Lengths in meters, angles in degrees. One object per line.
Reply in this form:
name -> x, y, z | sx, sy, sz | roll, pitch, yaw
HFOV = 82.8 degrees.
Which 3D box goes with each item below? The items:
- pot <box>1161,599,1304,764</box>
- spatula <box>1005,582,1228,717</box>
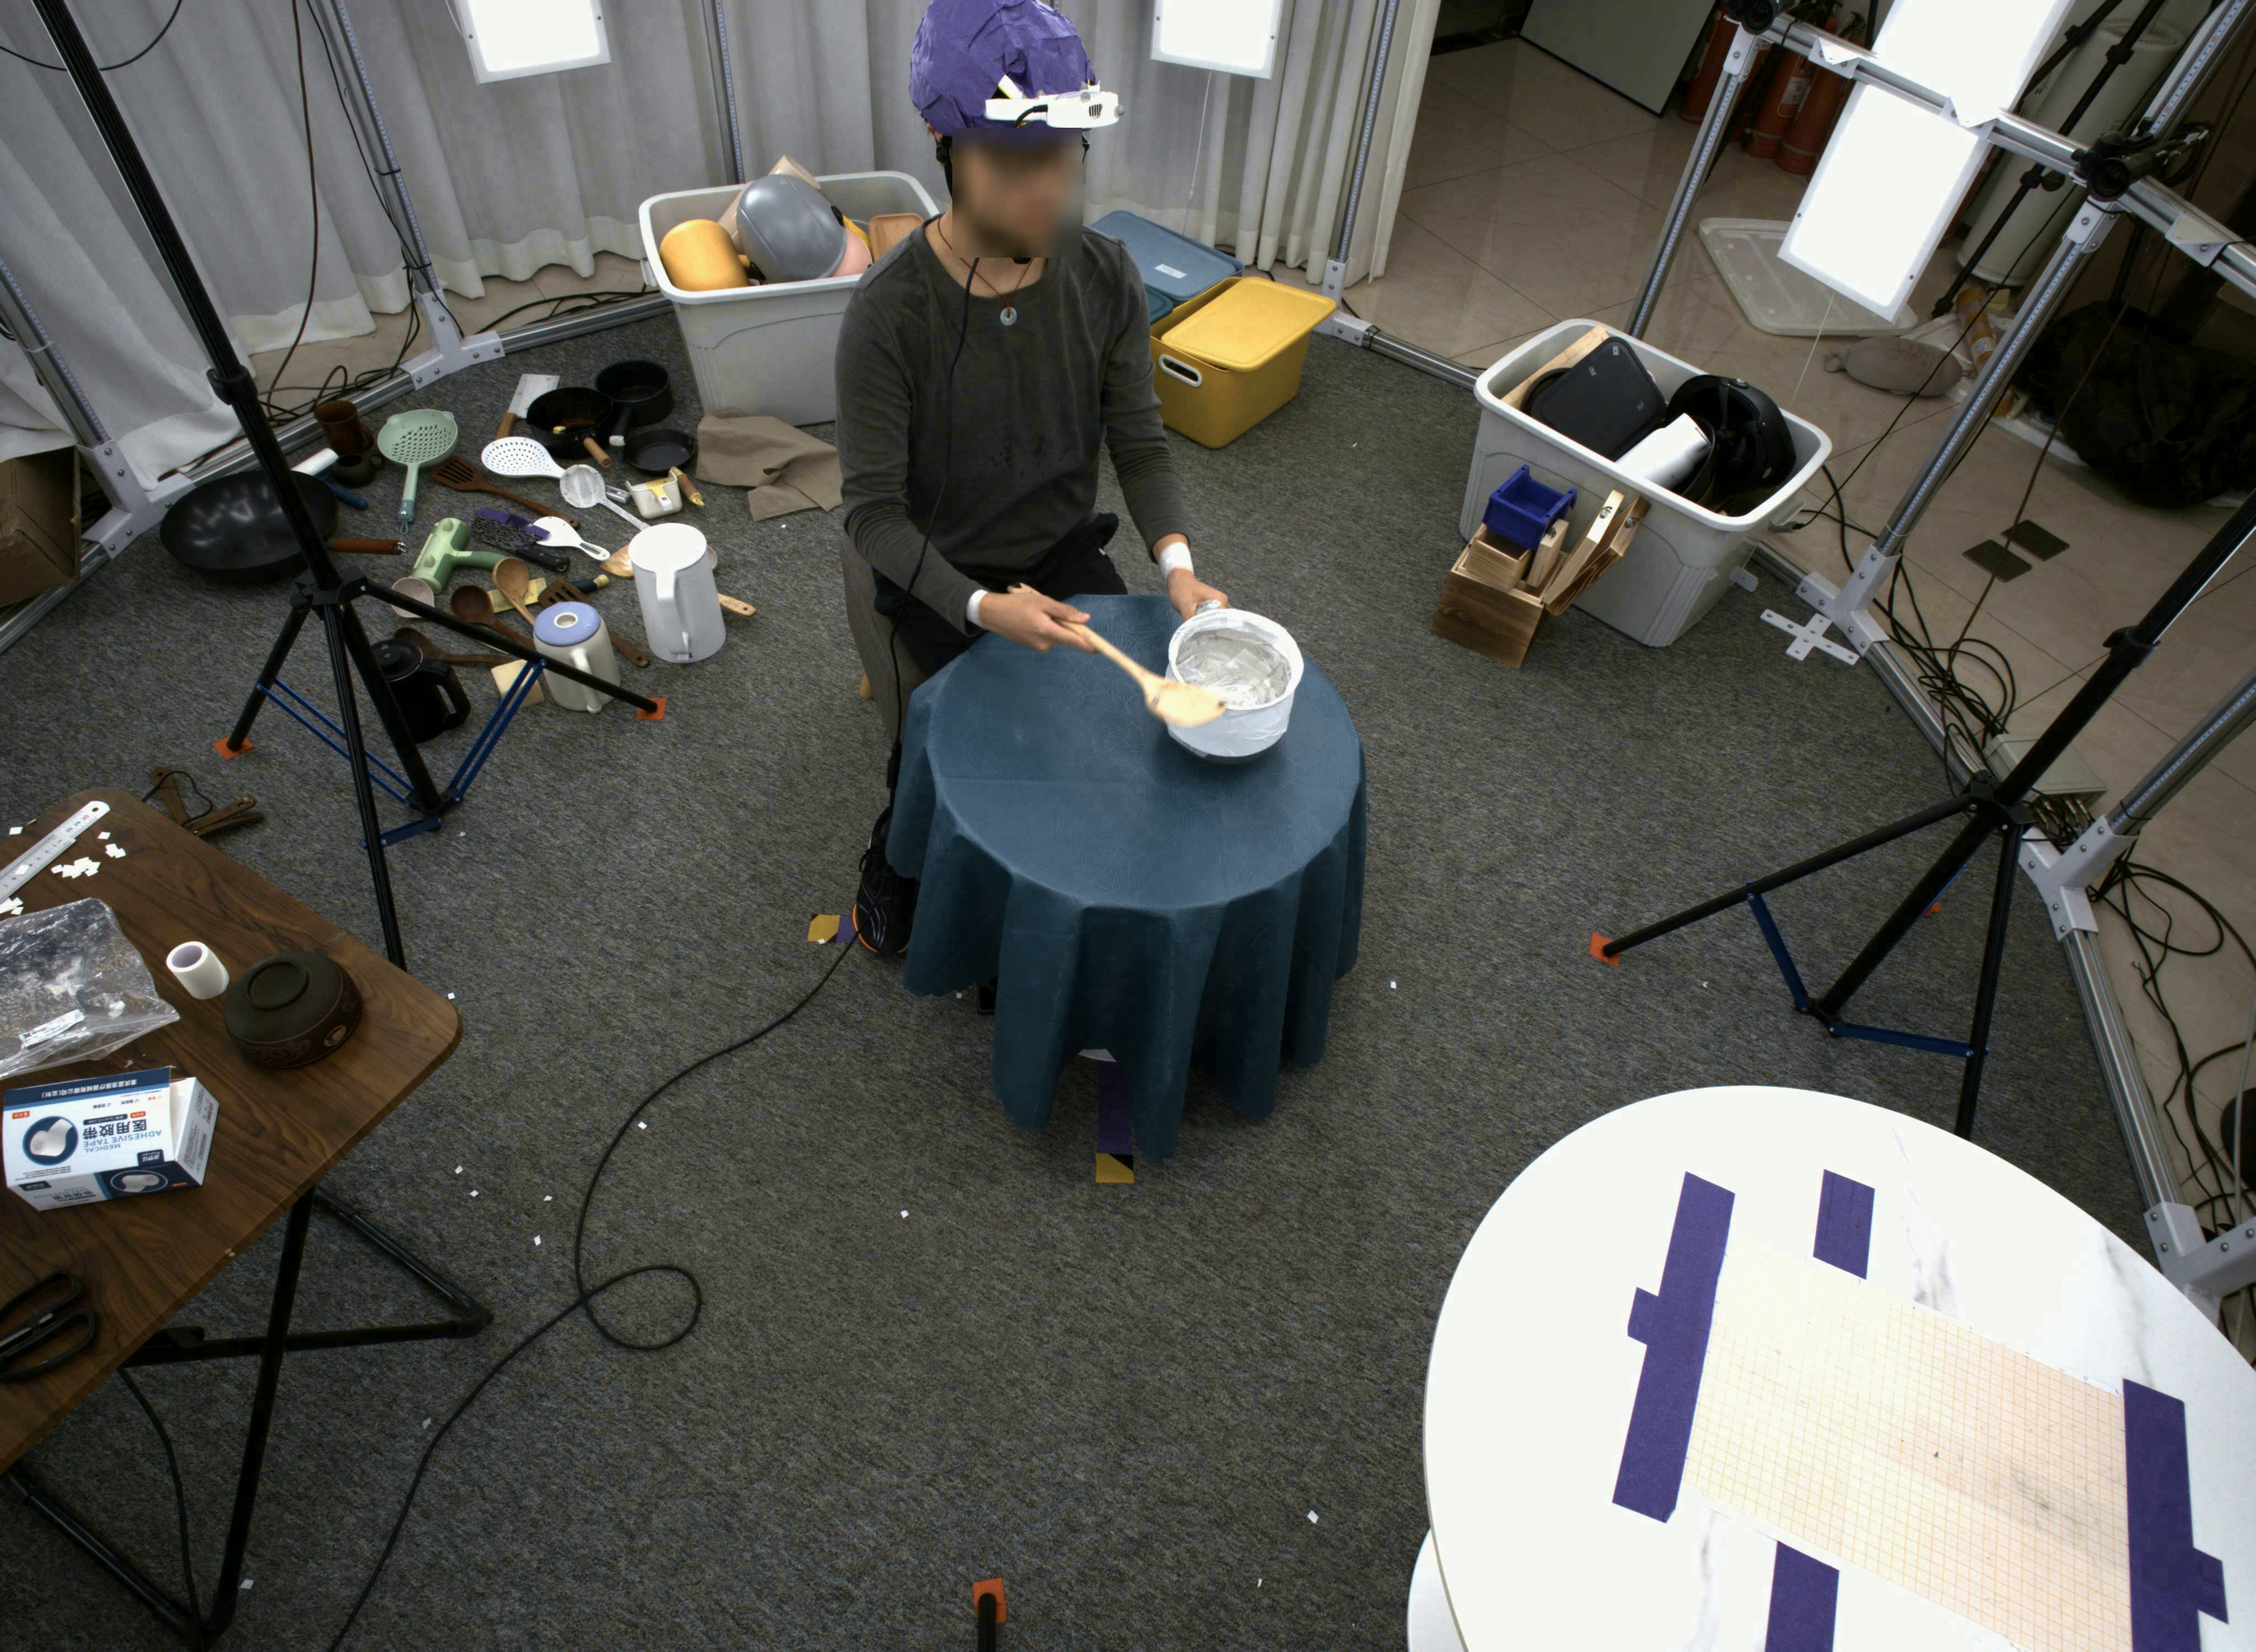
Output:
pot -> 0.128, -0.205, 1.730 | 0.178, 0.133, 0.239 | -9, 55, -12
spatula -> -0.032, -0.232, 1.651 | 0.096, 0.018, 0.397 | -20, 45, -41
